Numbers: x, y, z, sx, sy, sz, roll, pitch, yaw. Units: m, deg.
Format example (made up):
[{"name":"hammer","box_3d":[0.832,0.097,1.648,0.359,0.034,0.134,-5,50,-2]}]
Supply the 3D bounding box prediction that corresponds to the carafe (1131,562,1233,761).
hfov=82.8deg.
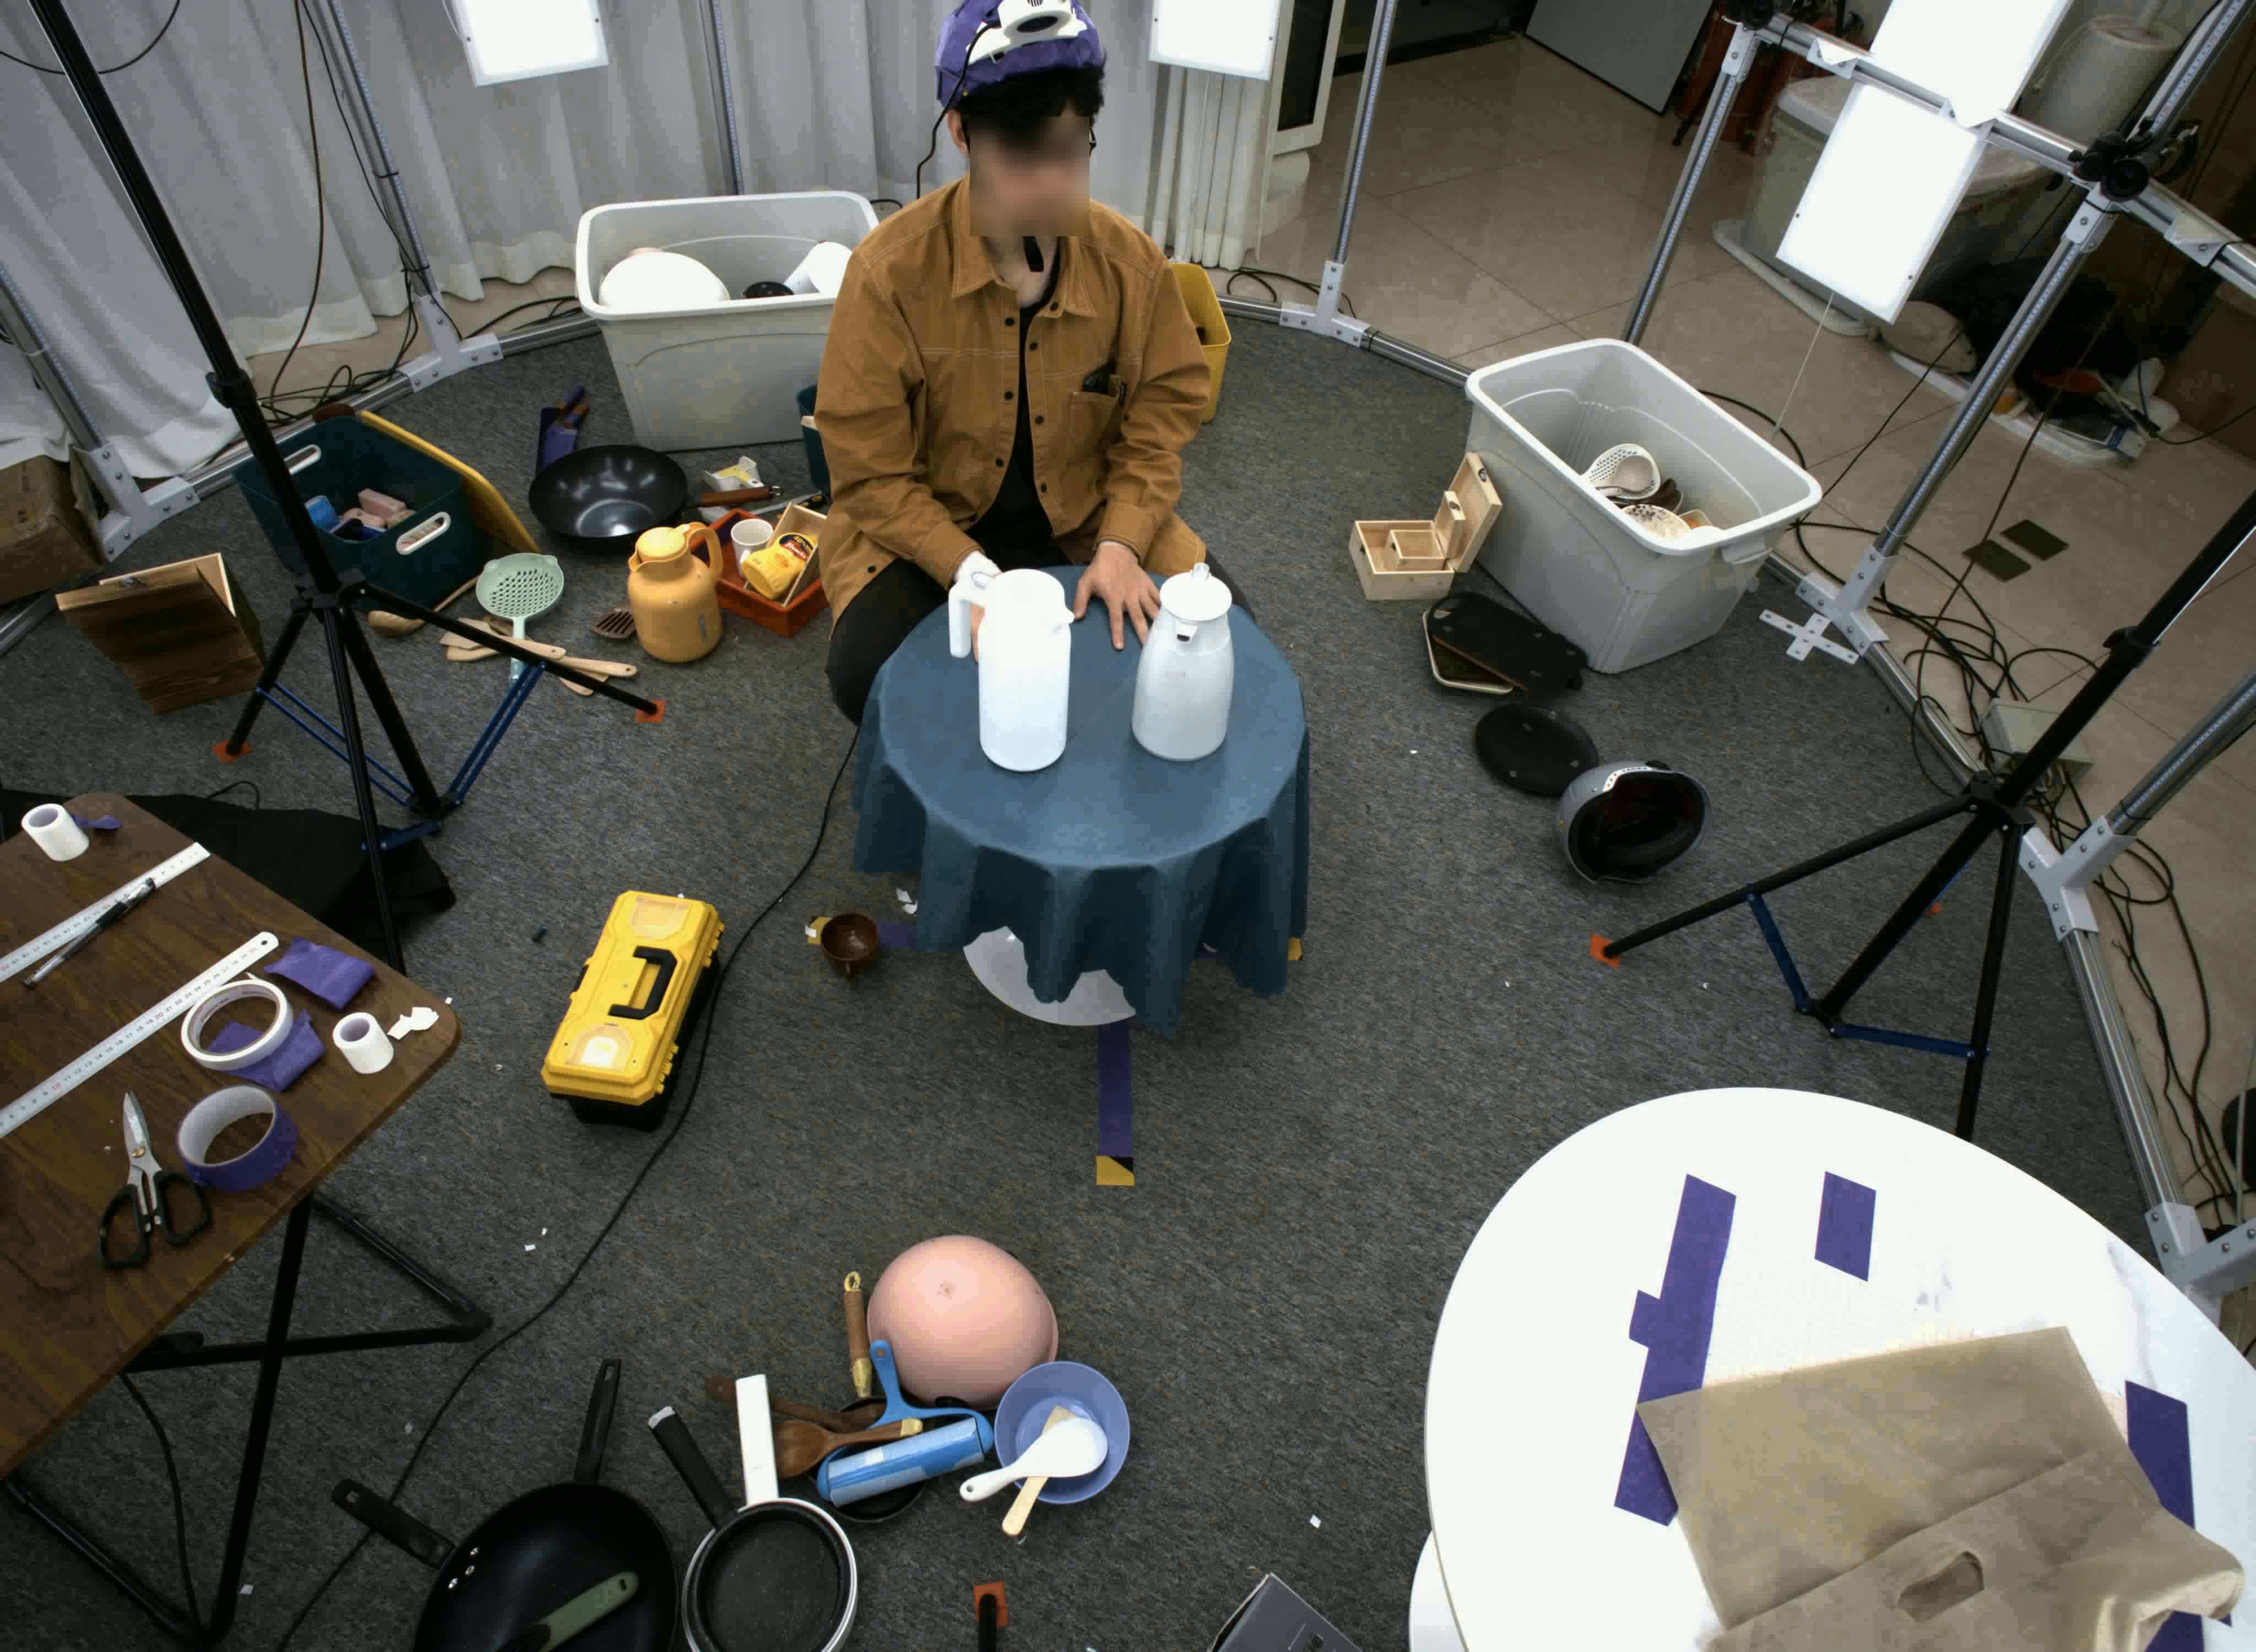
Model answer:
[{"name":"carafe","box_3d":[0.081,-0.232,1.715,0.133,0.242,0.171,13,49,7]}]

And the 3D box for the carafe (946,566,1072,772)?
[{"name":"carafe","box_3d":[-0.153,-0.204,1.664,0.174,0.262,0.126,23,54,15]}]
